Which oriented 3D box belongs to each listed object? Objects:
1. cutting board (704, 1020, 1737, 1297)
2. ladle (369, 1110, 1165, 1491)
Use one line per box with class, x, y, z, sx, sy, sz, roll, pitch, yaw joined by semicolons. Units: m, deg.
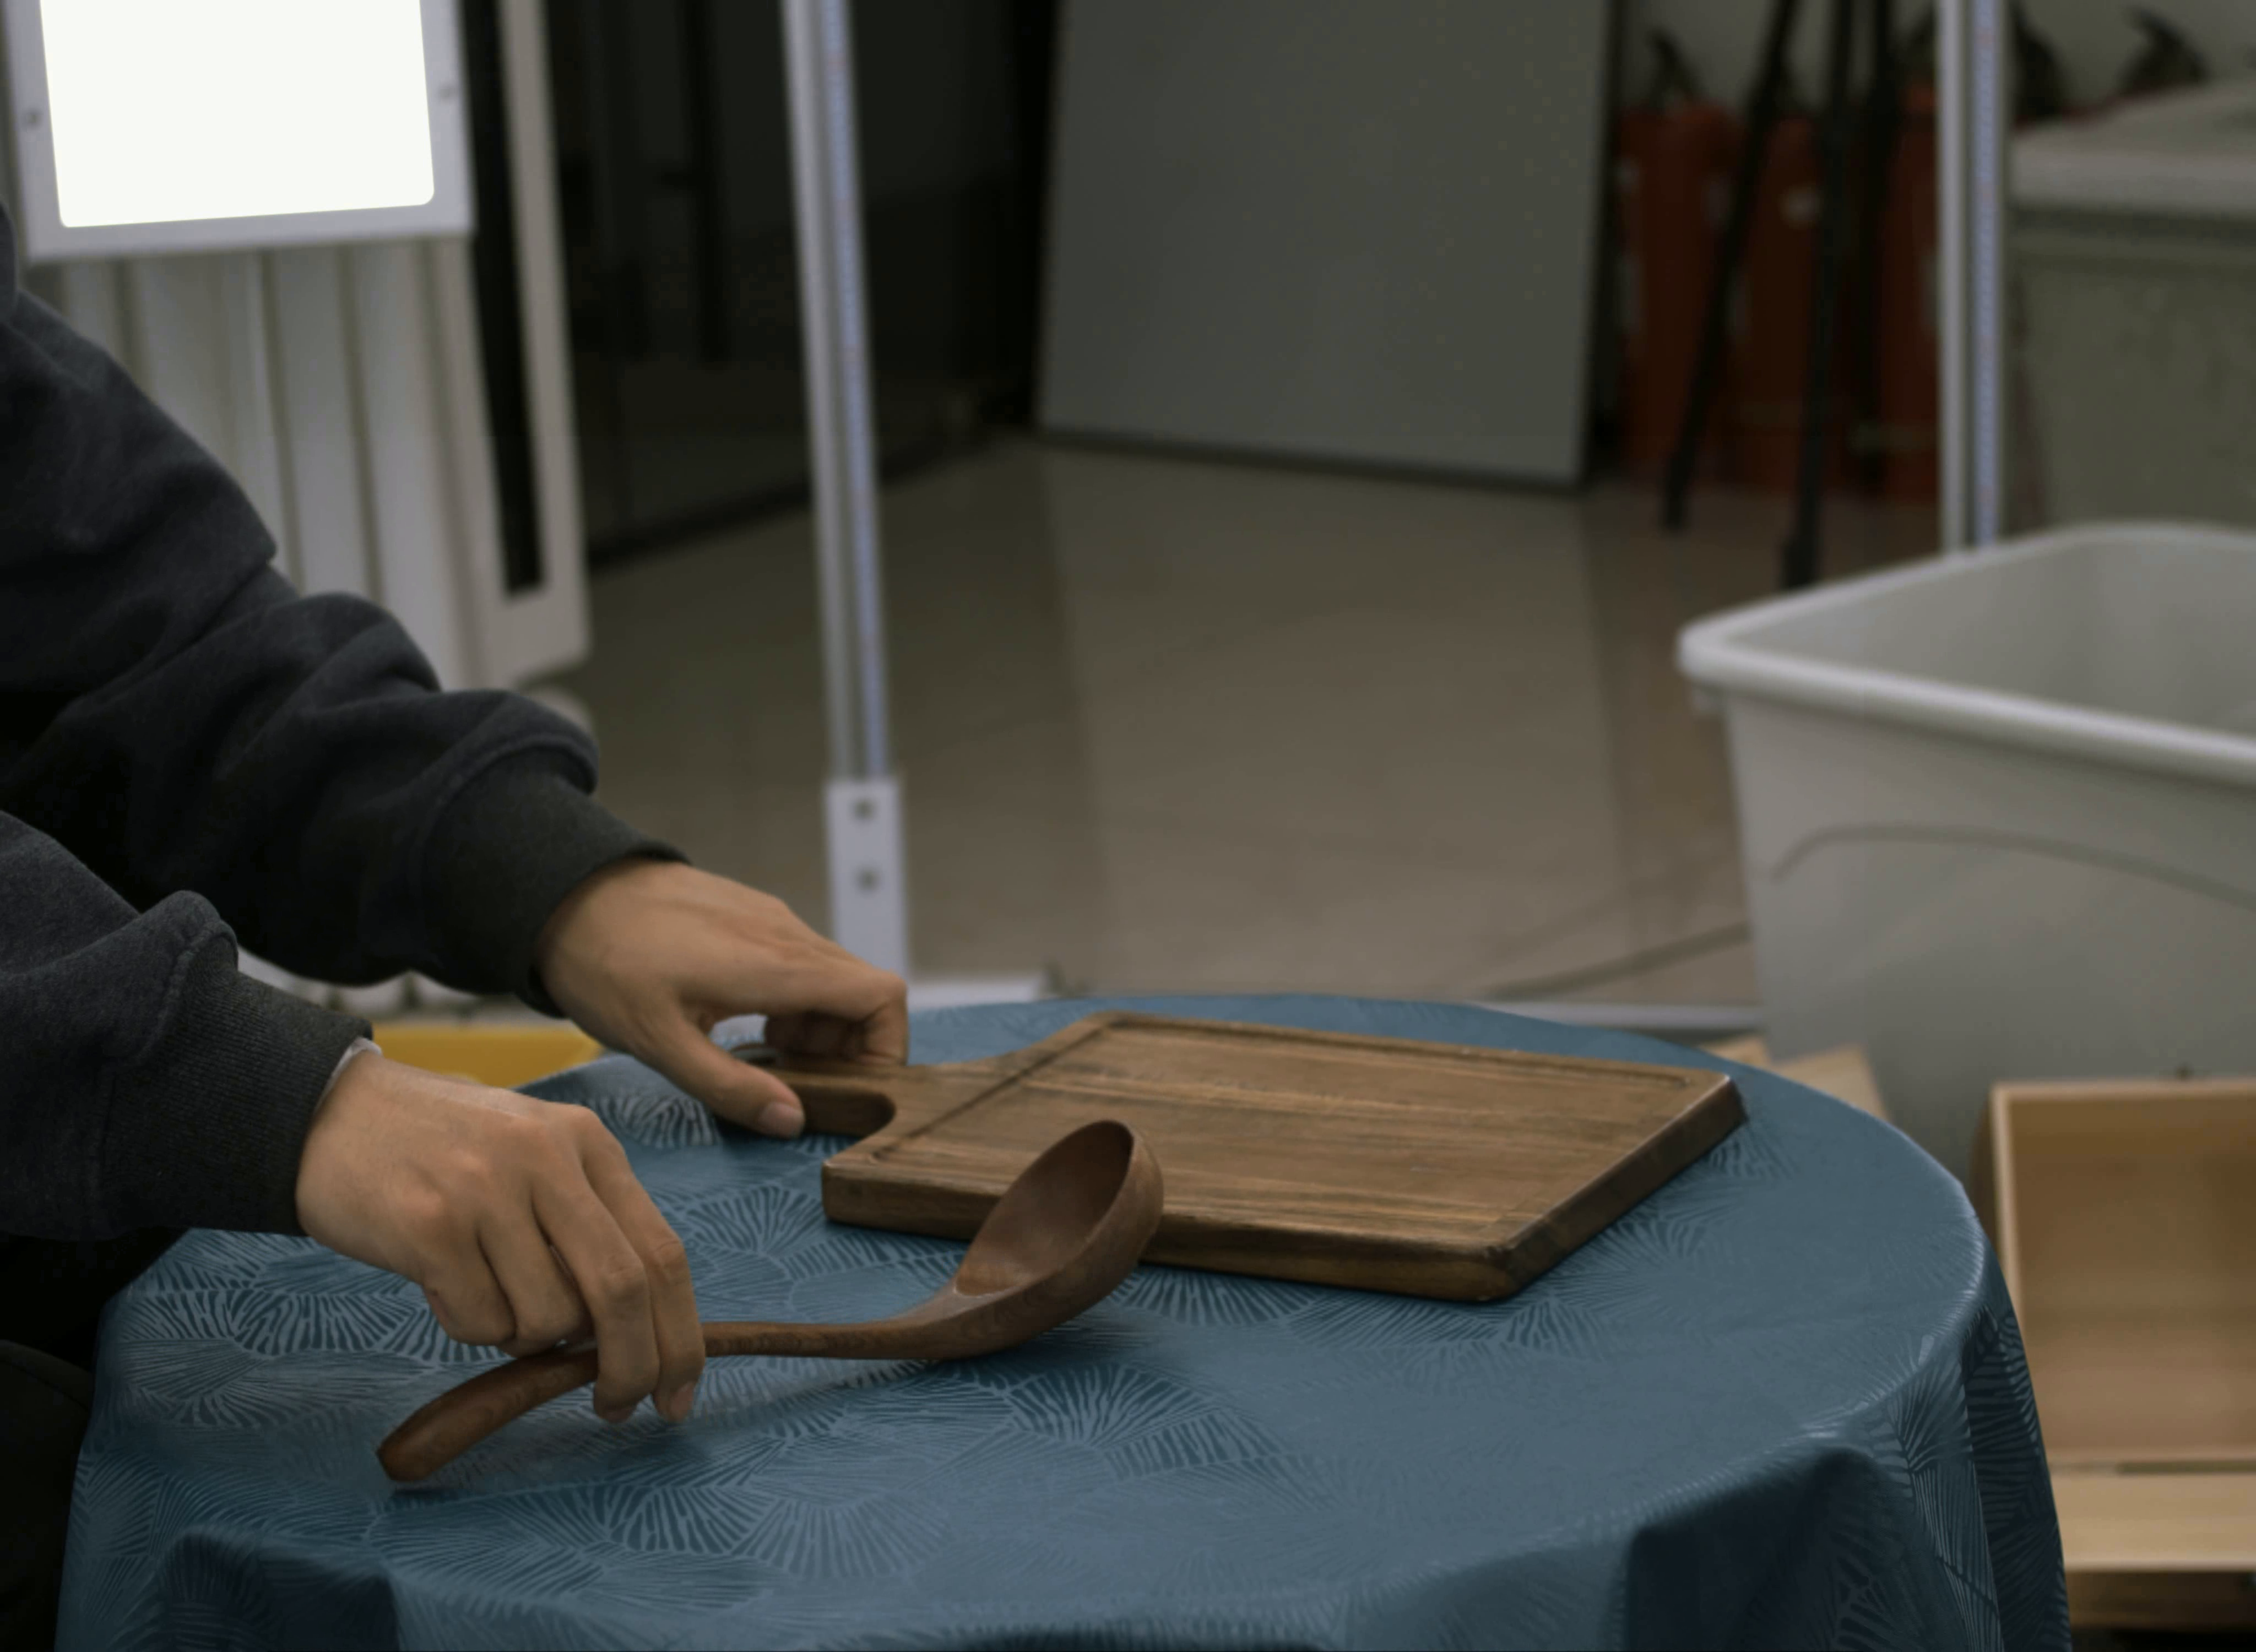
cutting board;0.010;0.102;1.796;0.353;0.023;0.198;4;14;30
ladle;-0.105;0.137;1.591;0.254;0.066;0.077;-10;0;-25
